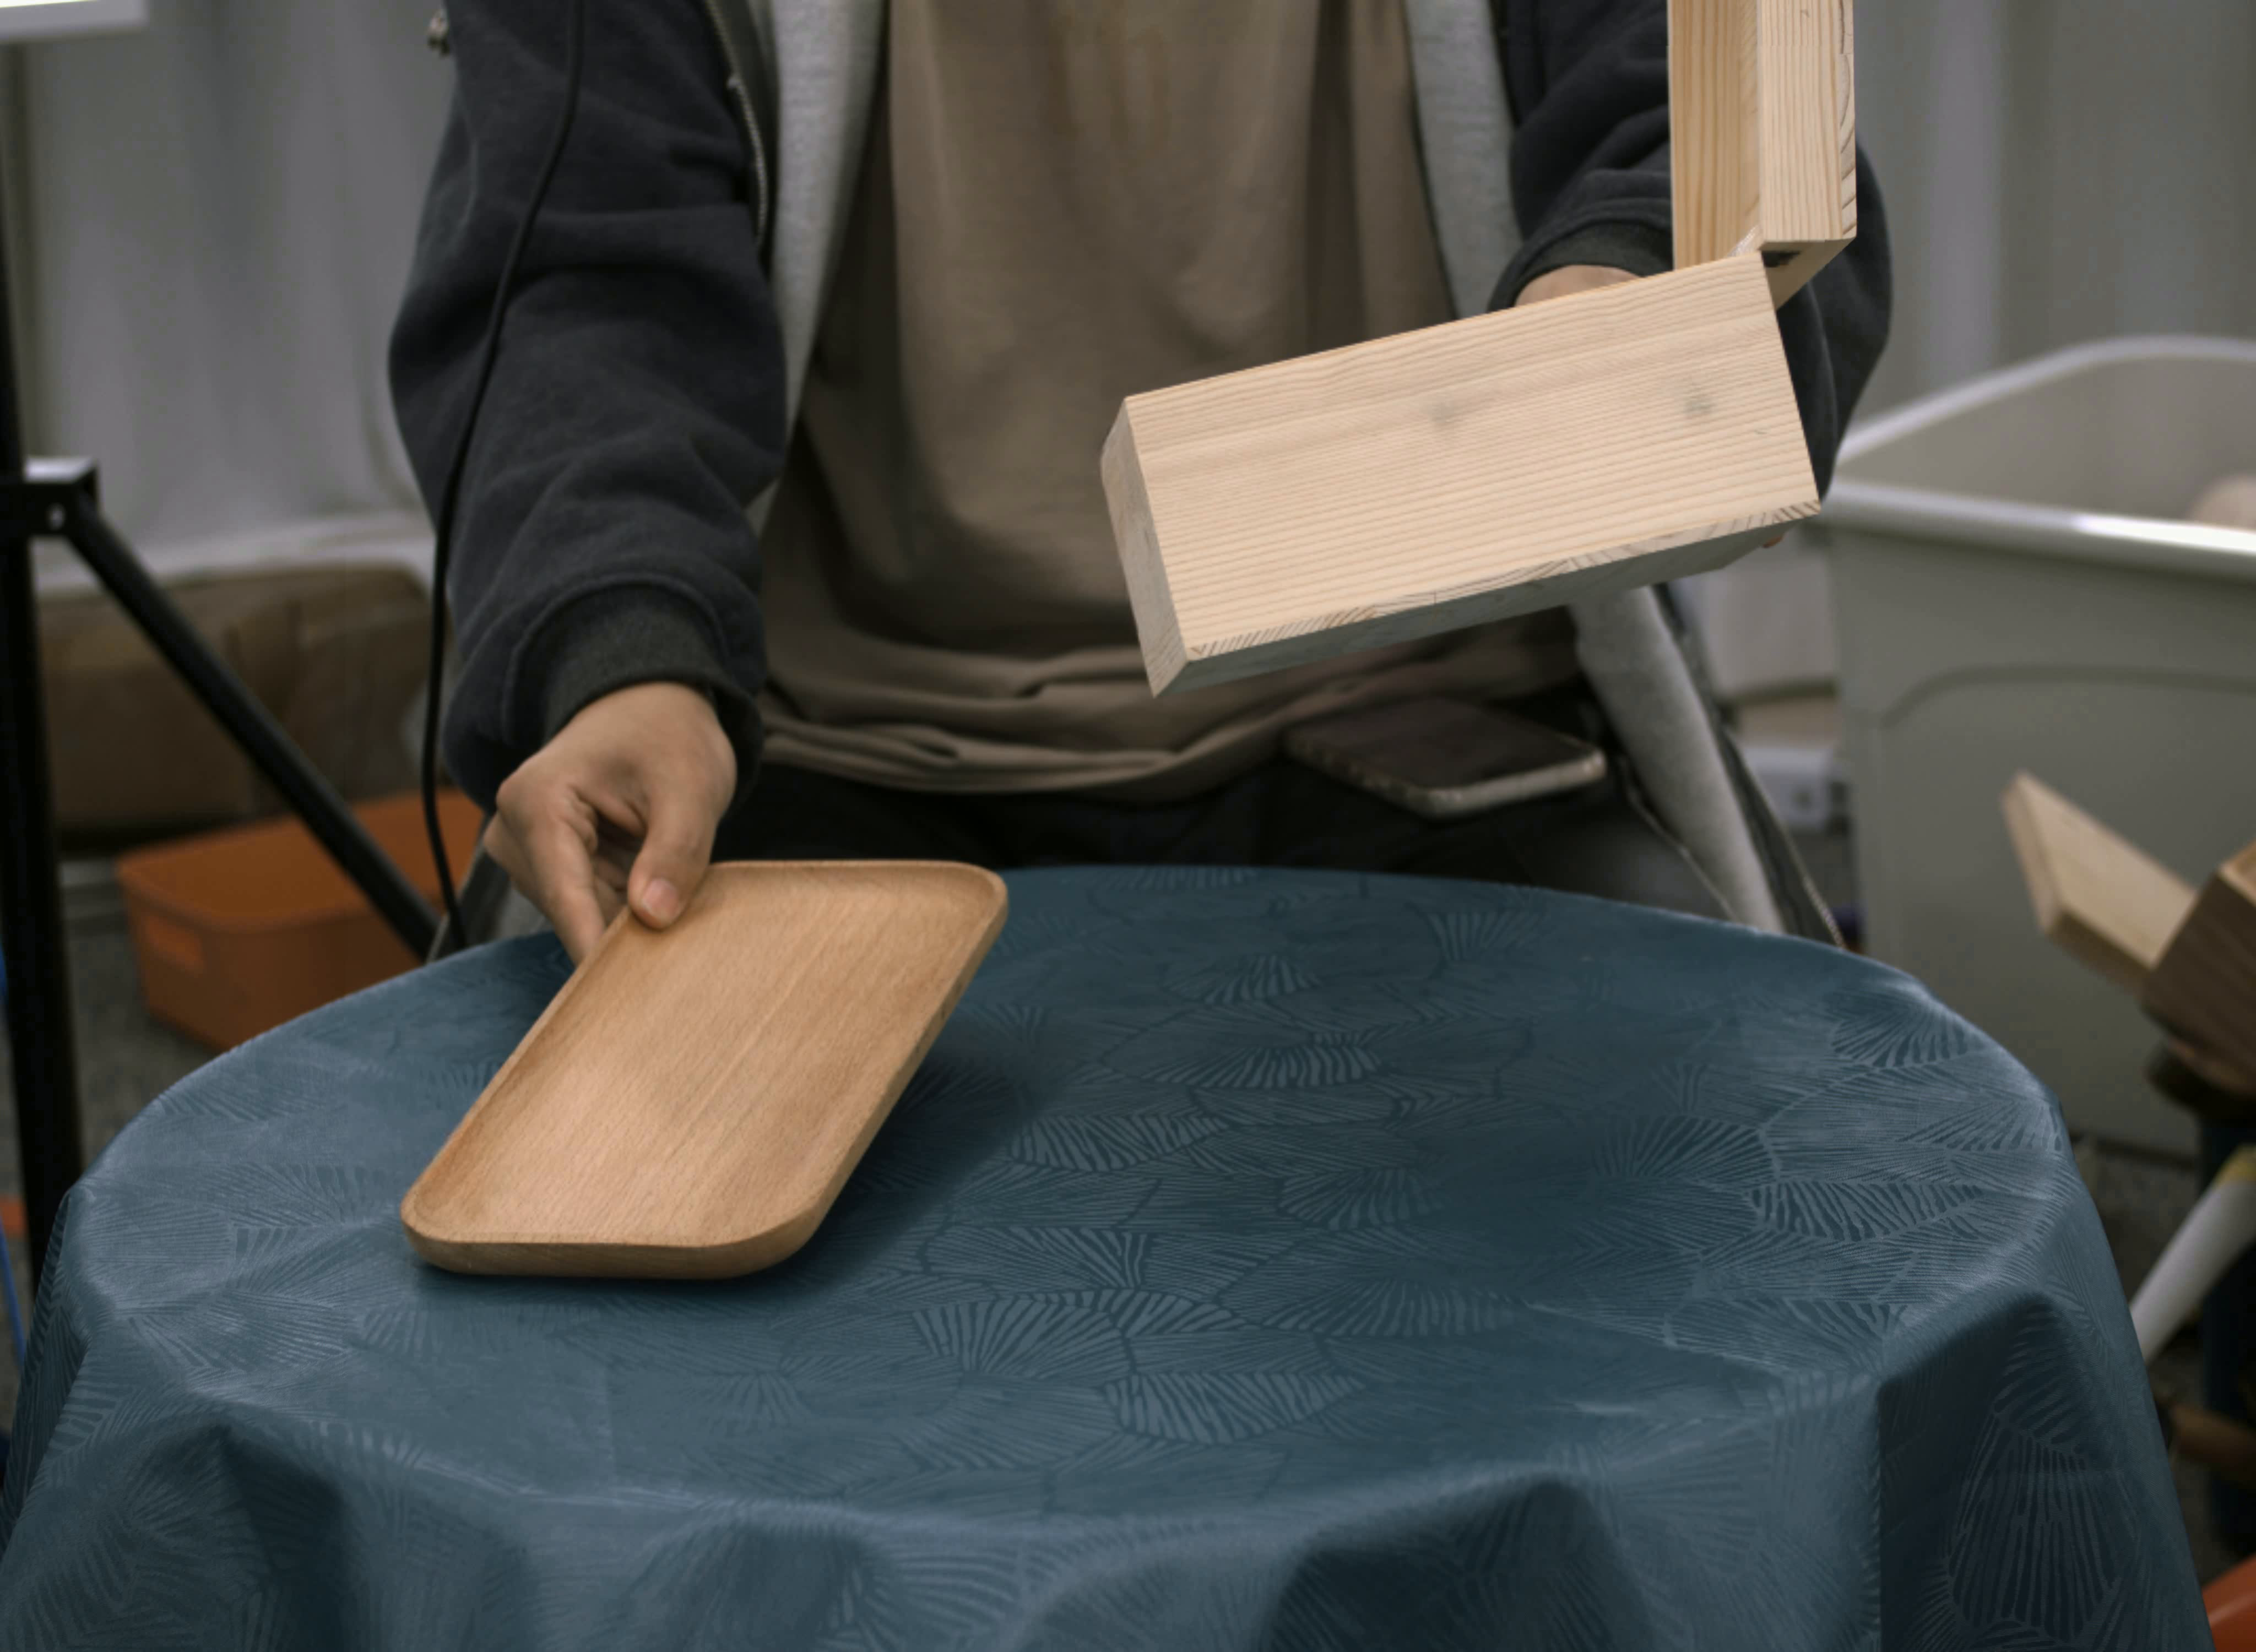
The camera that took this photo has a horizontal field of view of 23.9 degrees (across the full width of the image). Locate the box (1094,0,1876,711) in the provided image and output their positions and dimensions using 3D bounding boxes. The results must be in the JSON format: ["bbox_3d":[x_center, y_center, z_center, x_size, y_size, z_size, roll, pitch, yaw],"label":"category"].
[{"bbox_3d":[0.107,-0.189,1.542,0.263,0.255,0.181,-12,-5,-2],"label":"box"}]

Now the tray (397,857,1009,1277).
[{"bbox_3d":[-0.123,0.070,1.608,0.132,0.023,0.249,2,25,17],"label":"tray"}]
